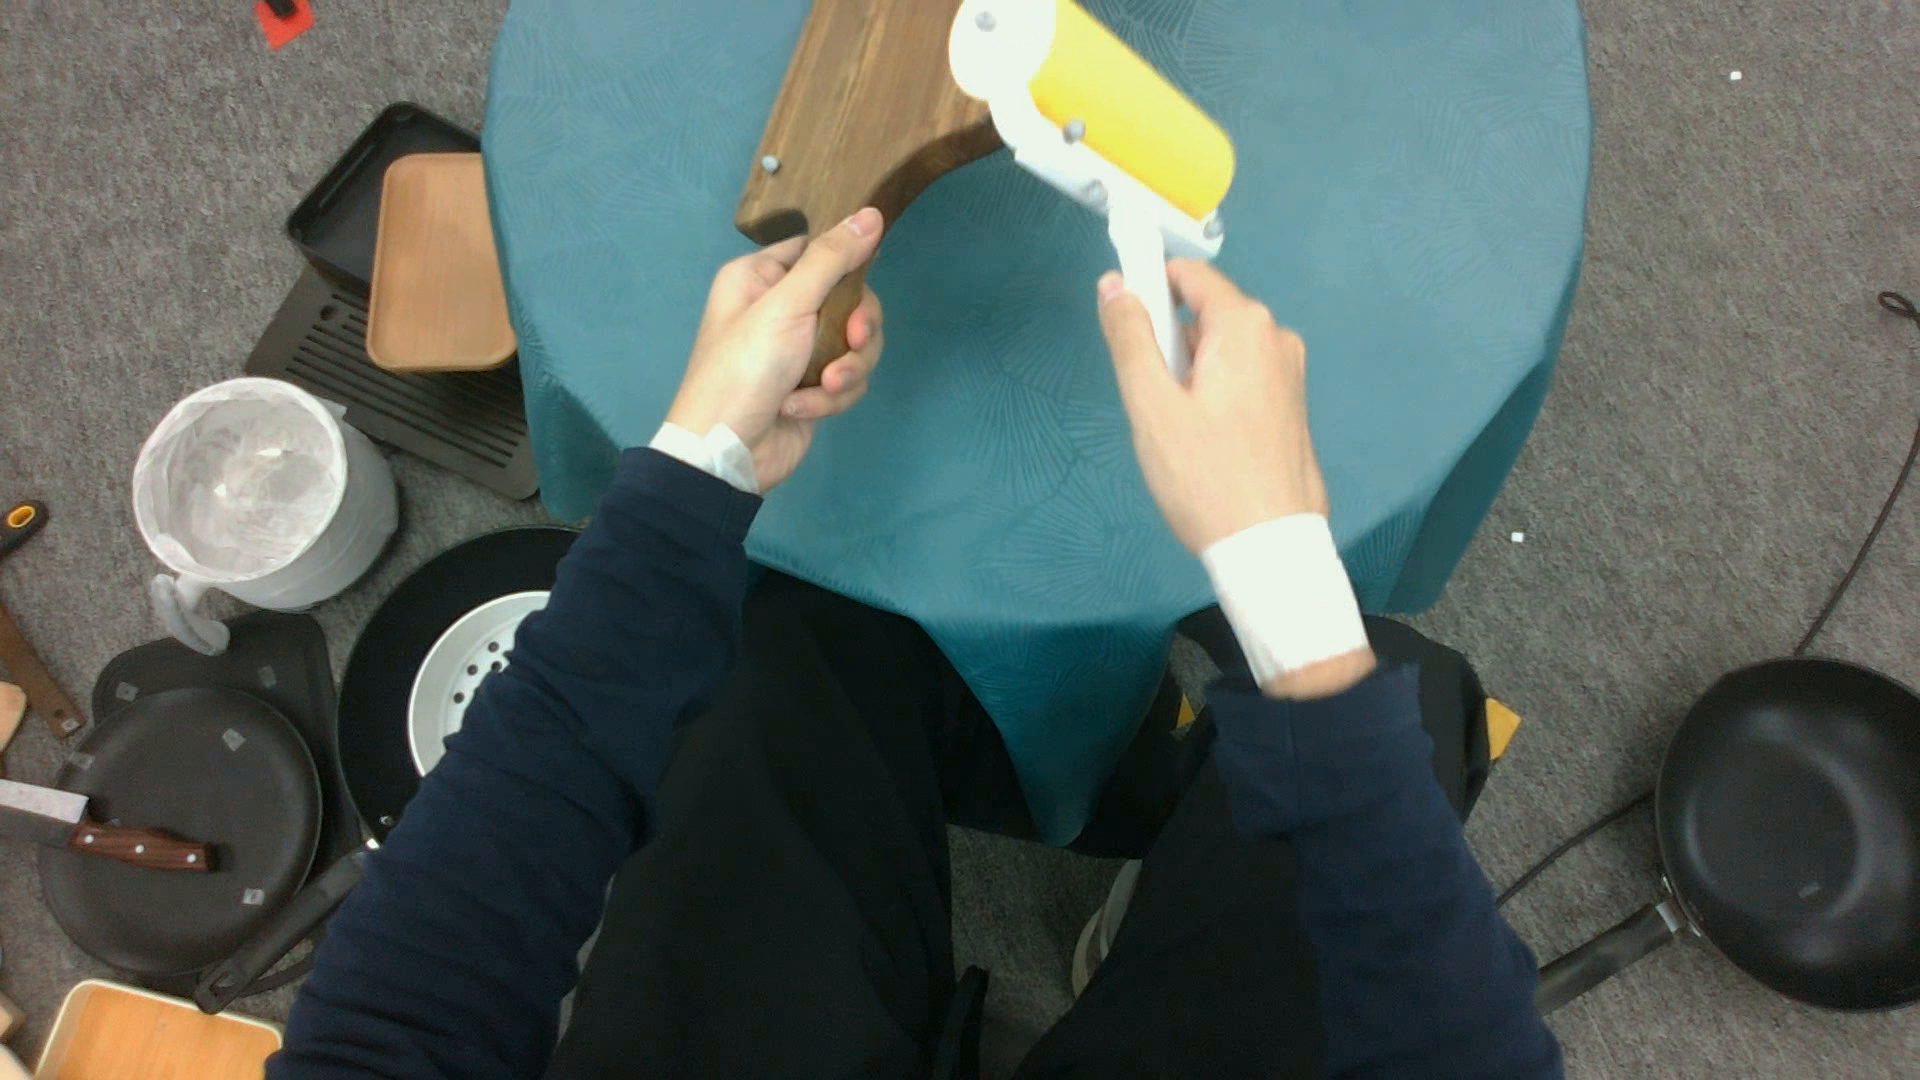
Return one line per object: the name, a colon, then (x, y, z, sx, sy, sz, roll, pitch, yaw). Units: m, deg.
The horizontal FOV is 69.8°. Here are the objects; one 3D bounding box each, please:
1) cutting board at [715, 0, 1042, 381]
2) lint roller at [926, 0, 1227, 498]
cutting board: (-0.036, -0.233, 0.654, 0.023, 0.200, 0.353, 30, 65, -37)
lint roller: (0.076, -0.111, 0.553, 0.051, 0.174, 0.192, -33, 70, 26)
